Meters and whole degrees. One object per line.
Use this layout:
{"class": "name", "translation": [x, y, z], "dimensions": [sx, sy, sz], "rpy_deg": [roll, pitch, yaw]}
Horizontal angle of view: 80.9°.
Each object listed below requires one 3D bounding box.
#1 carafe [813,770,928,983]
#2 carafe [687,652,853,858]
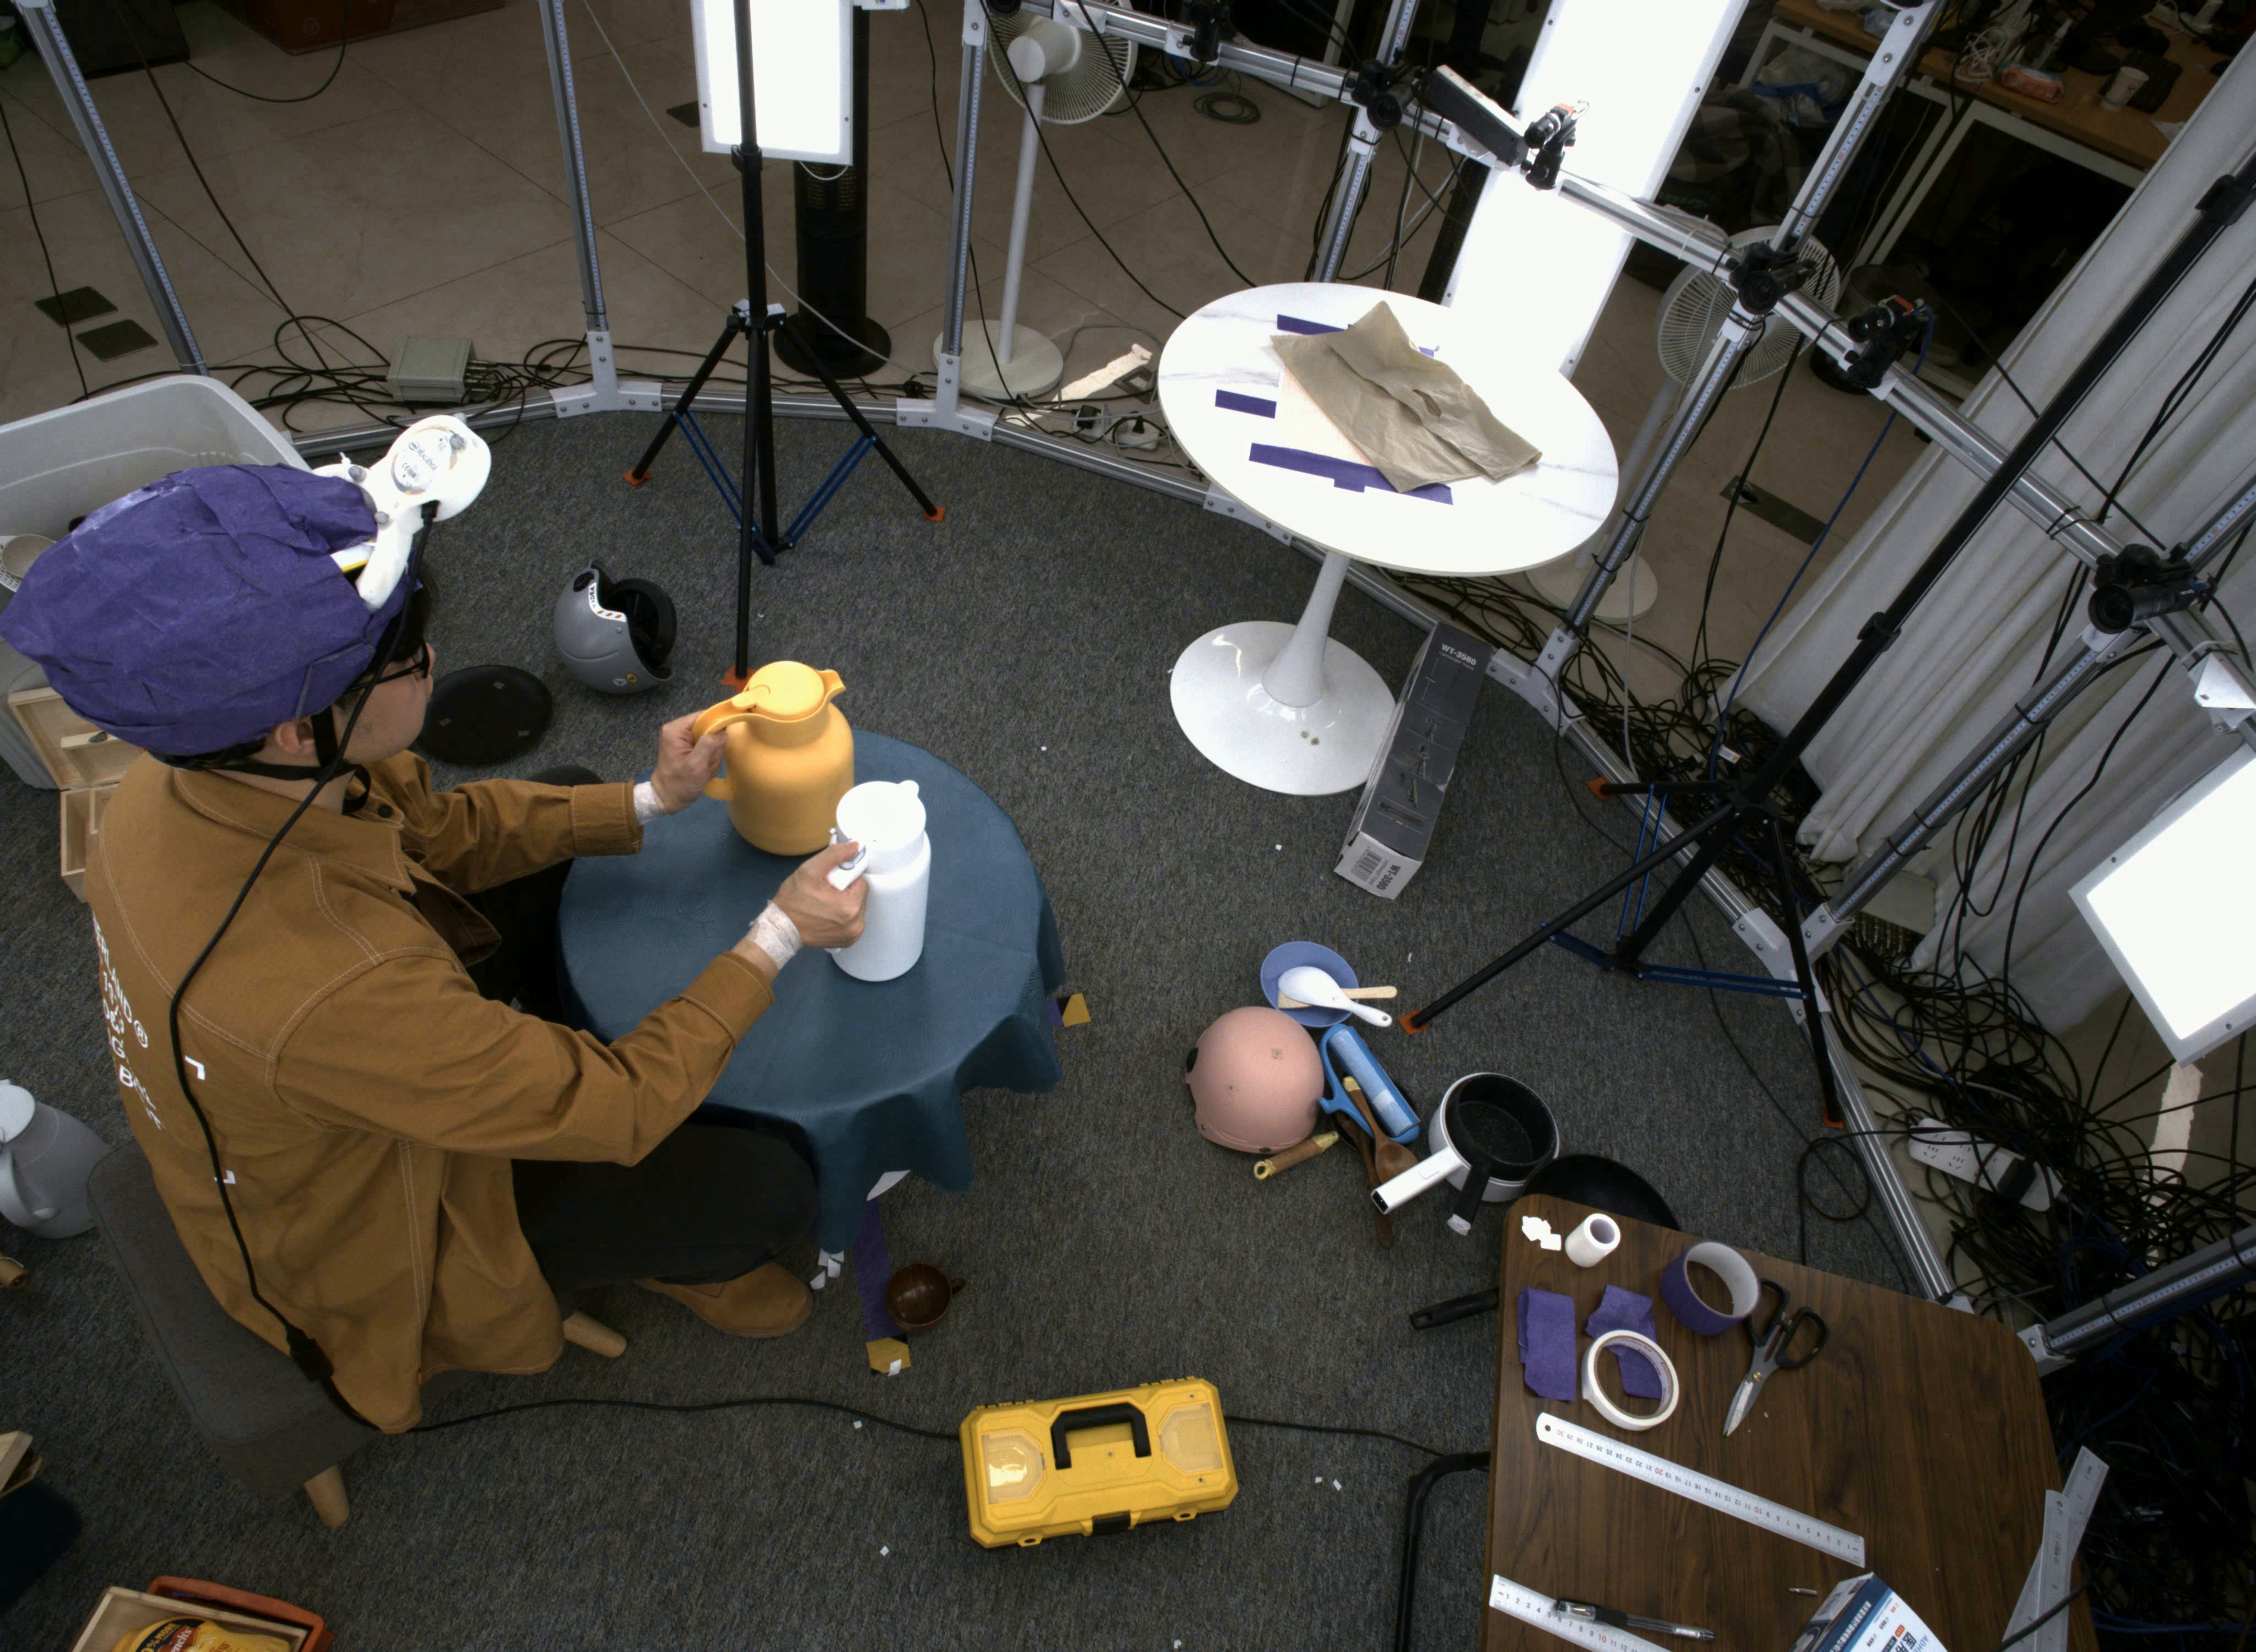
{"class": "carafe", "translation": [-0.303, 0.076, 1.522], "dimensions": [0.122, 0.274, 0.172], "rpy_deg": [27, 51, 8]}
{"class": "carafe", "translation": [-0.444, -0.090, 1.612], "dimensions": [0.203, 0.266, 0.159], "rpy_deg": [-17, 55, -26]}
